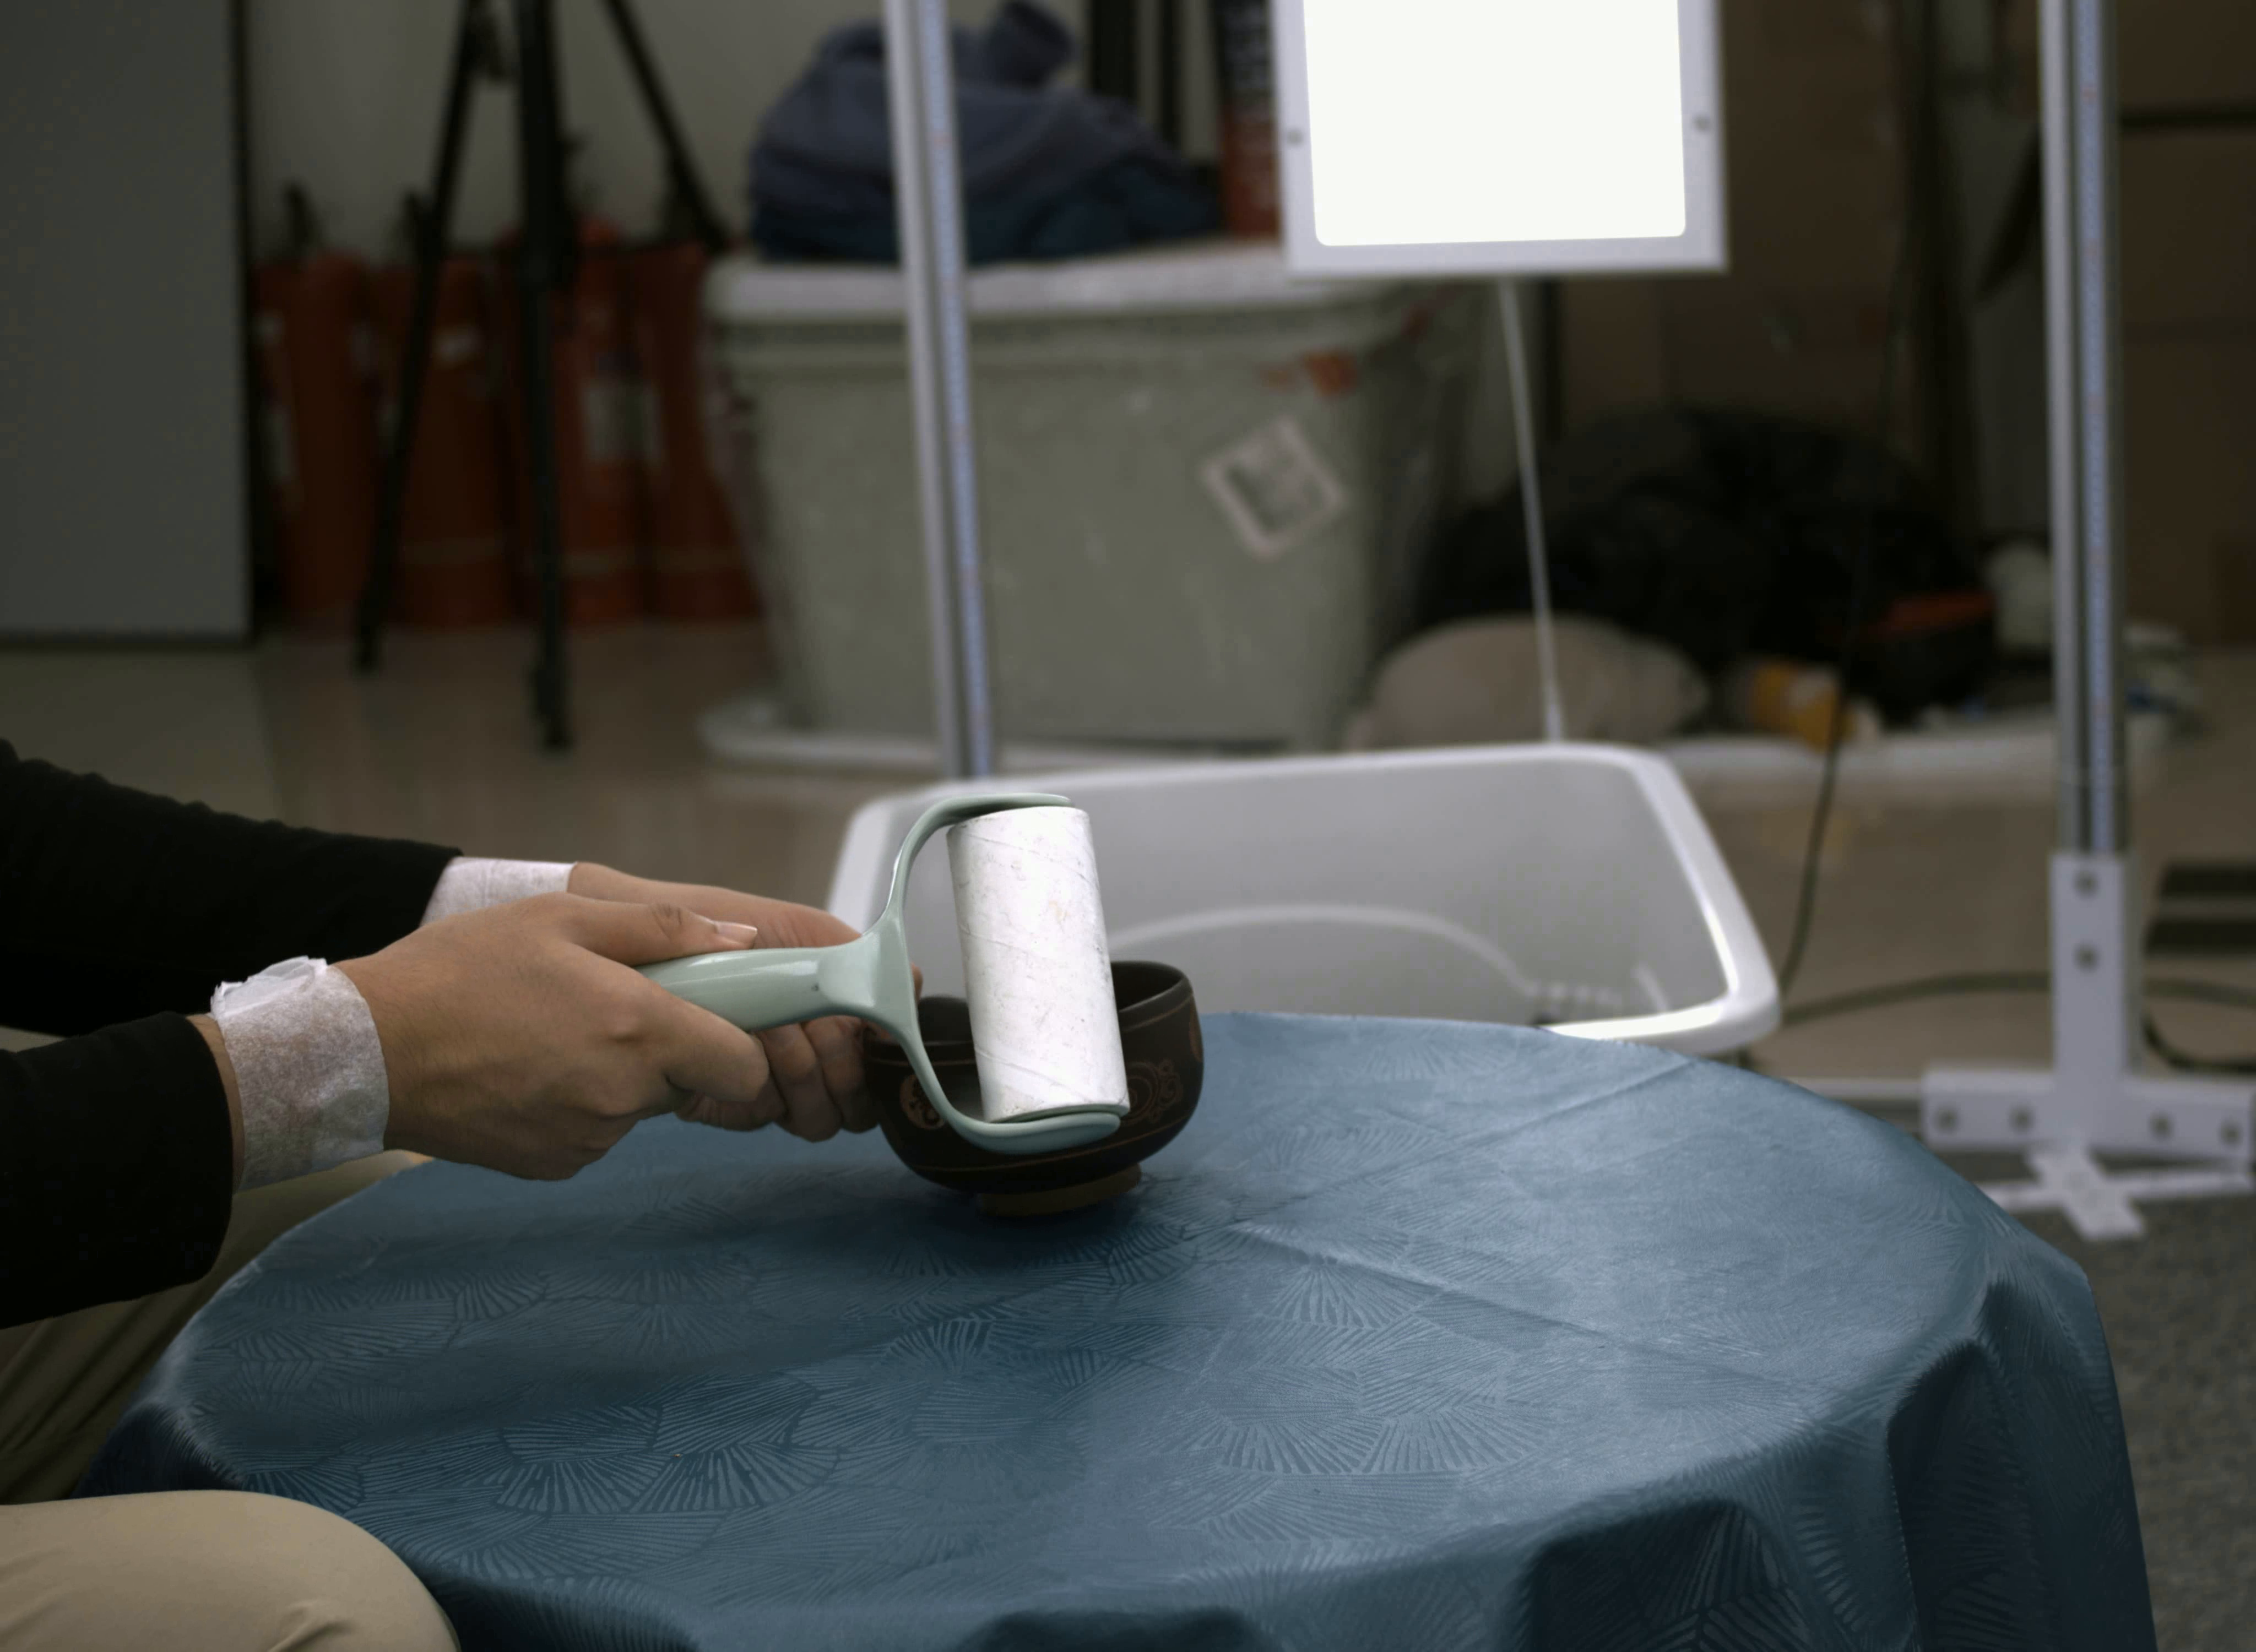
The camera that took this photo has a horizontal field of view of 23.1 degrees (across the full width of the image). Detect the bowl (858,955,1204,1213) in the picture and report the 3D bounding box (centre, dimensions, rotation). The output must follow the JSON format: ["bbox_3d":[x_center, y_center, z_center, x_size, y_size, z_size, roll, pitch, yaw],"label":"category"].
[{"bbox_3d":[-0.030,0.092,1.887,0.118,0.070,0.118,-11,10,0],"label":"bowl"}]

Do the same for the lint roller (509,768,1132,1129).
[{"bbox_3d":[-0.101,0.046,1.778,0.195,0.117,0.049,-5,-11,-11],"label":"lint roller"}]
